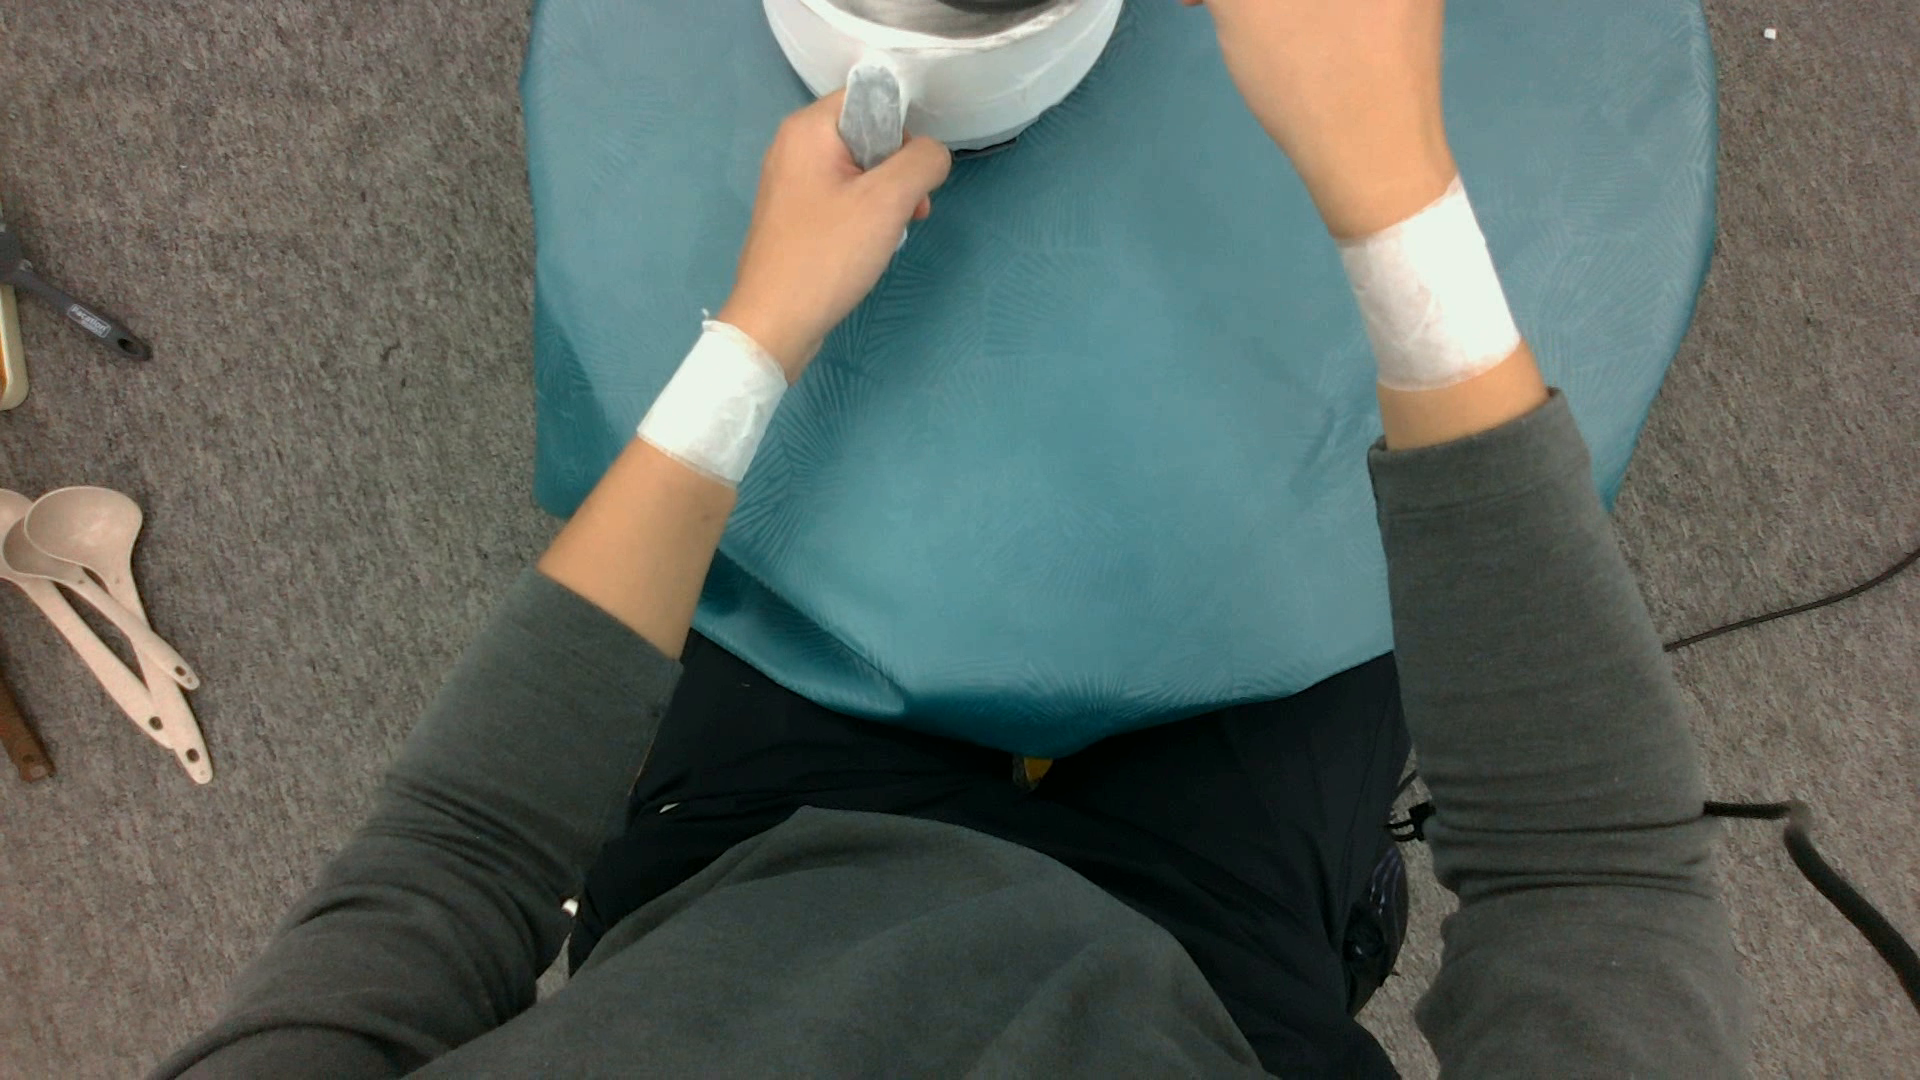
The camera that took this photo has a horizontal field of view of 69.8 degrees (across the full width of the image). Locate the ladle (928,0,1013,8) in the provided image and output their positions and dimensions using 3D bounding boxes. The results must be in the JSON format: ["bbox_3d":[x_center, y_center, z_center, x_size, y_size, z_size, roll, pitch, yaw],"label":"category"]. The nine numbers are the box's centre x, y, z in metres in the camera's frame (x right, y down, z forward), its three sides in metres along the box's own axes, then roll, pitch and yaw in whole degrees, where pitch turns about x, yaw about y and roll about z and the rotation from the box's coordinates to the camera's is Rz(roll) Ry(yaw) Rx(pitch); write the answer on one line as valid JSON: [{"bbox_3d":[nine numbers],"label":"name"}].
[{"bbox_3d":[0.049,-0.241,0.485,0.086,0.314,0.064,-34,109,-11],"label":"ladle"}]

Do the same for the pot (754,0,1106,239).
[{"bbox_3d":[-0.020,-0.259,0.625,0.179,0.136,0.234,14,86,0],"label":"pot"}]
